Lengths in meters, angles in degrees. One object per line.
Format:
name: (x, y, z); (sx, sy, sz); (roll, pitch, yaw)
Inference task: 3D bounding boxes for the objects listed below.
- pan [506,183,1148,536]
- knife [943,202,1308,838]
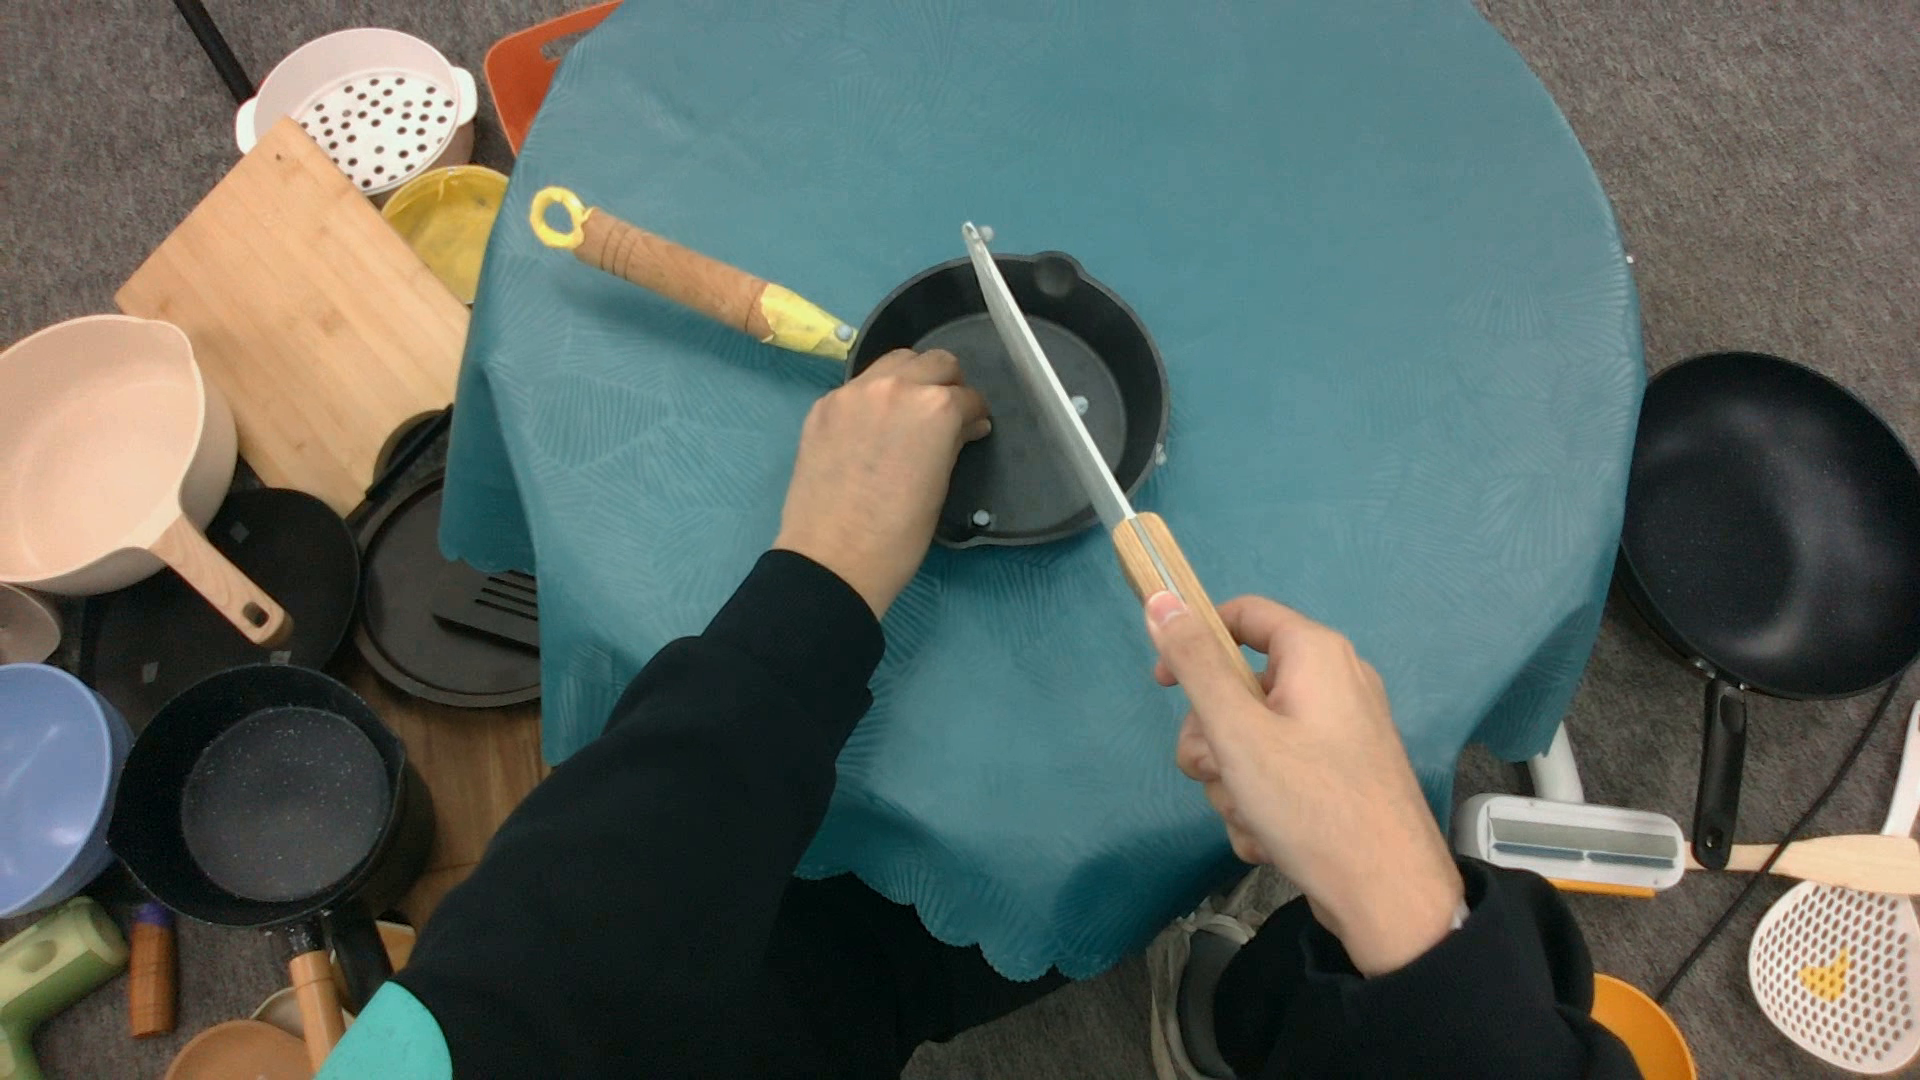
pan: (-0.067, -0.104, 0.671); (0.324, 0.049, 0.169); (21, 69, 4)
knife: (0.054, -0.019, 0.559); (0.022, 0.113, 0.316); (-25, 55, -1)
